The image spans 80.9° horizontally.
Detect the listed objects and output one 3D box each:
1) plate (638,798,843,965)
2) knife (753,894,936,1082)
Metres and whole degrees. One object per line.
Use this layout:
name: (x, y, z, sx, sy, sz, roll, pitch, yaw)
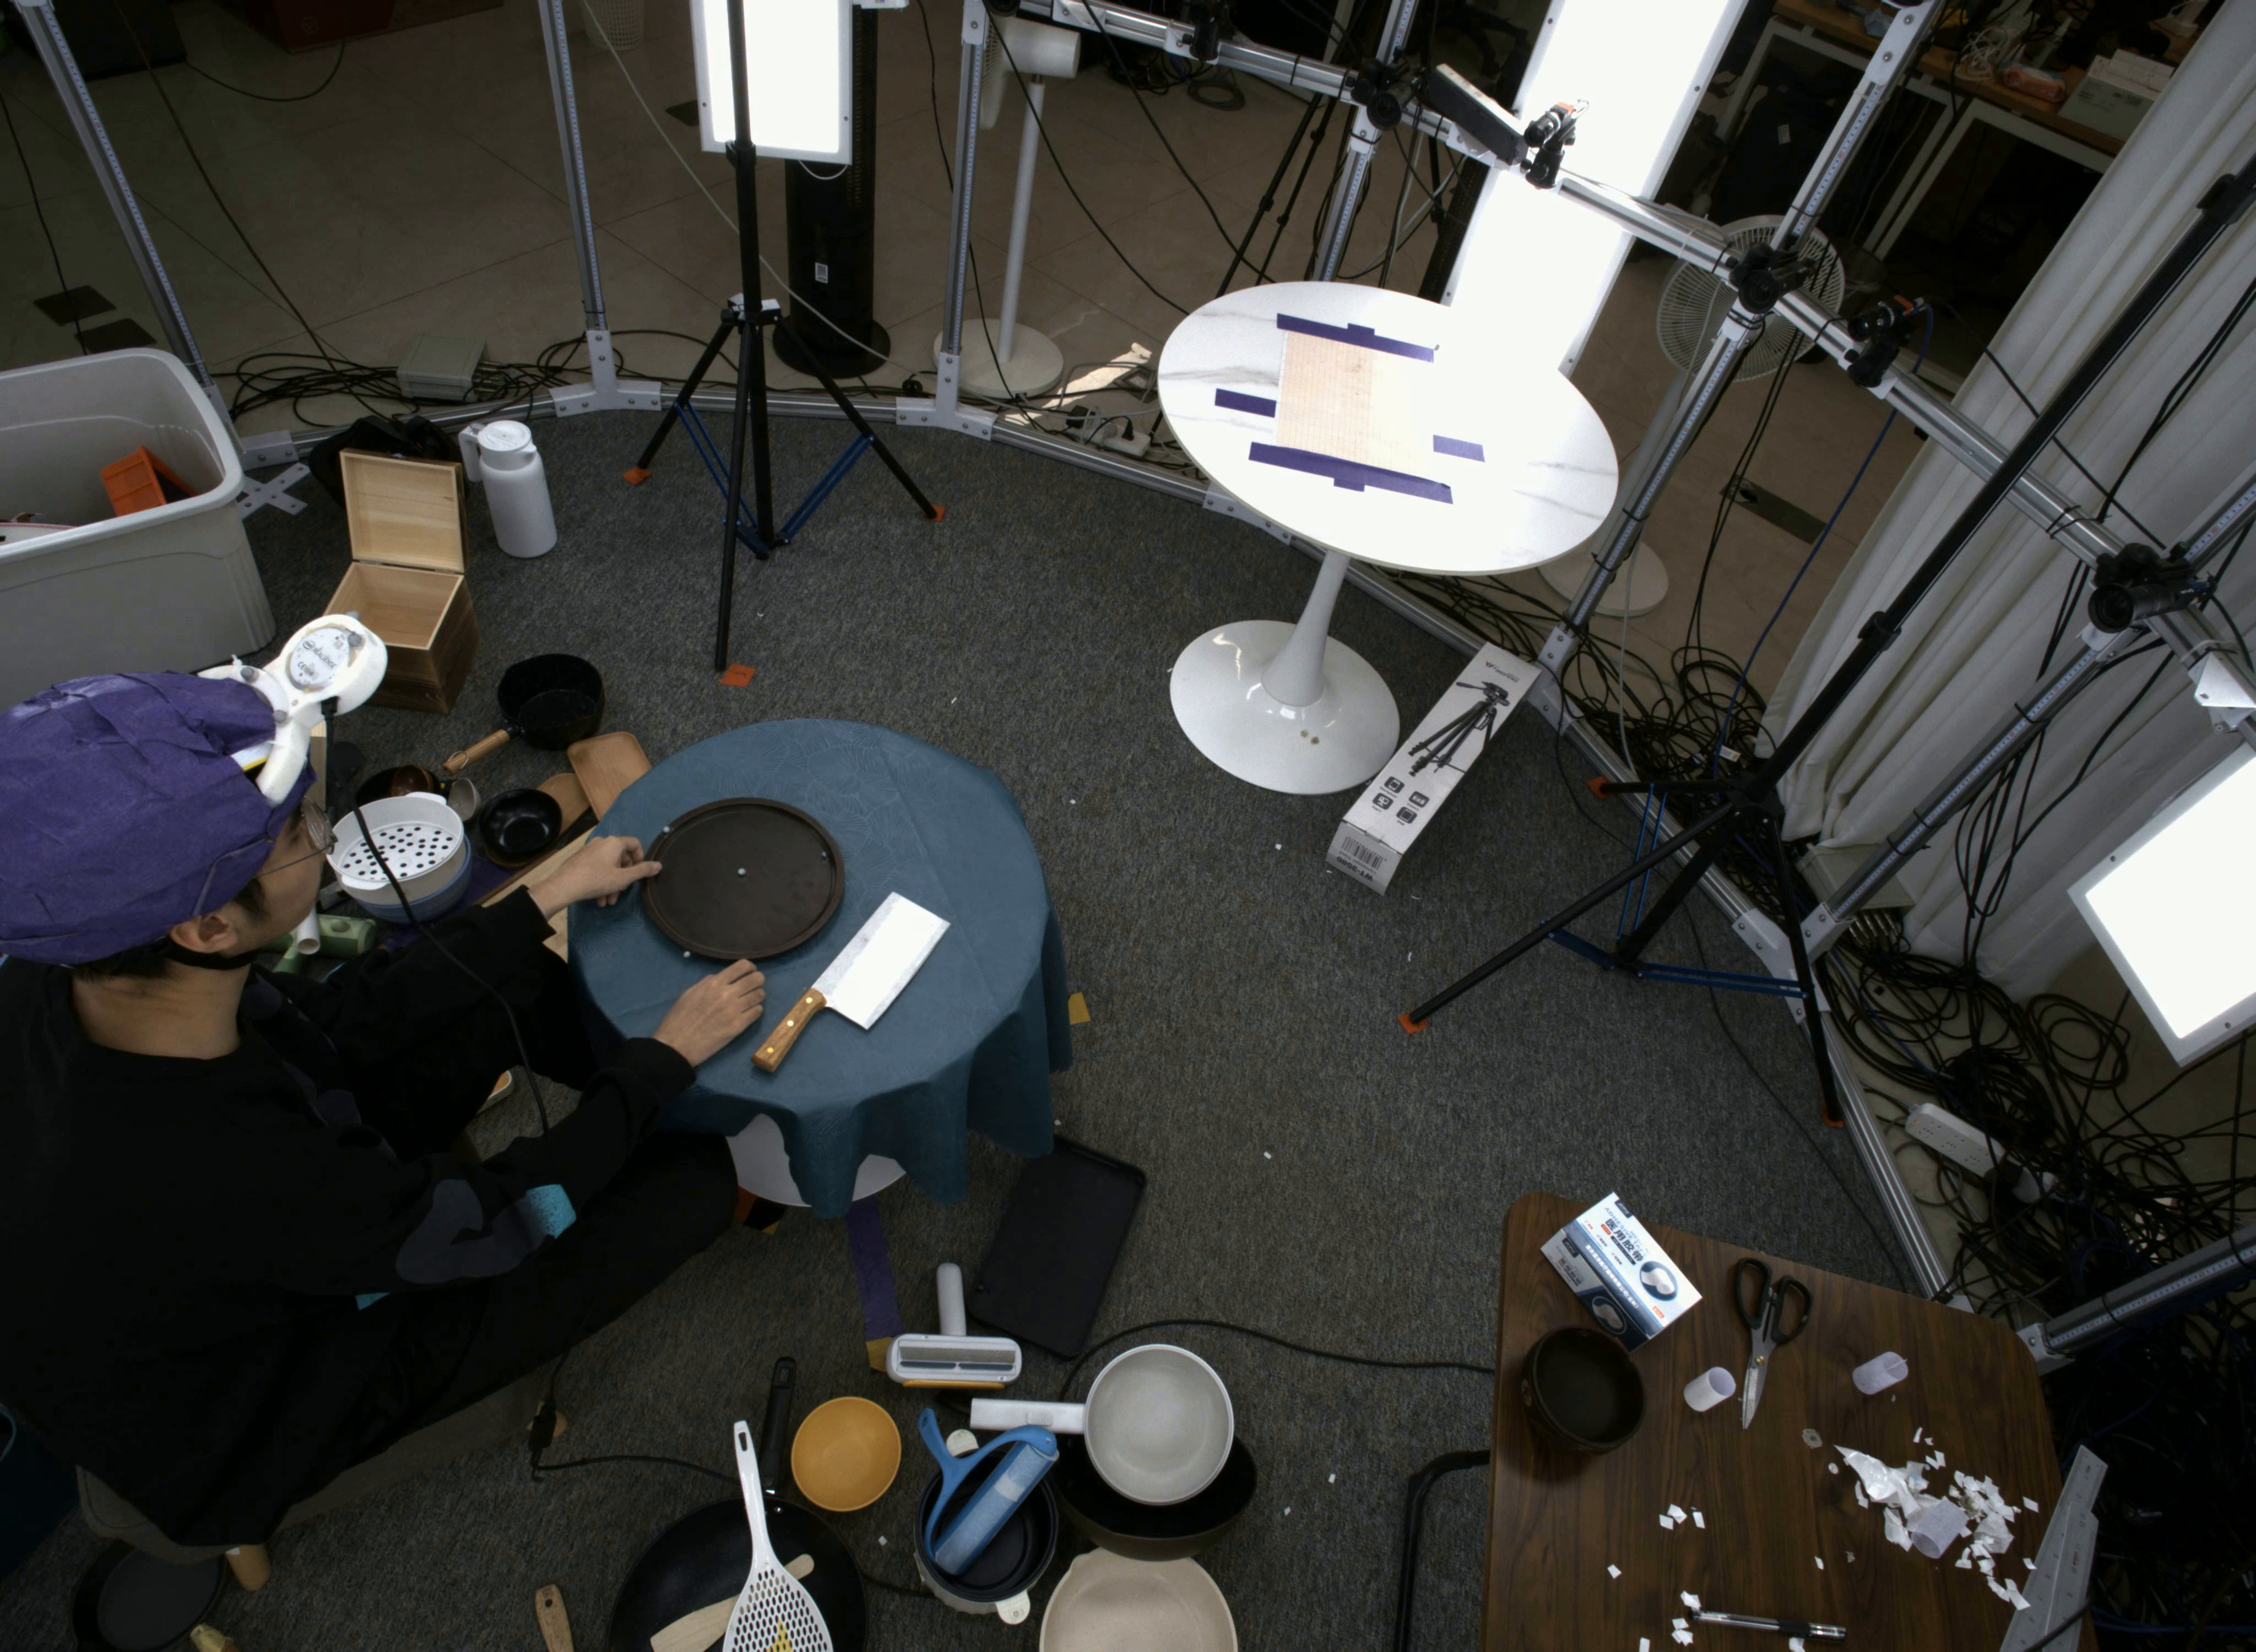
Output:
plate: (-0.487, 0.066, 1.631, 0.254, 0.029, 0.250, 8, 51, -8)
knife: (-0.333, 0.198, 1.579, 0.092, 0.021, 0.304, 29, 50, 6)
